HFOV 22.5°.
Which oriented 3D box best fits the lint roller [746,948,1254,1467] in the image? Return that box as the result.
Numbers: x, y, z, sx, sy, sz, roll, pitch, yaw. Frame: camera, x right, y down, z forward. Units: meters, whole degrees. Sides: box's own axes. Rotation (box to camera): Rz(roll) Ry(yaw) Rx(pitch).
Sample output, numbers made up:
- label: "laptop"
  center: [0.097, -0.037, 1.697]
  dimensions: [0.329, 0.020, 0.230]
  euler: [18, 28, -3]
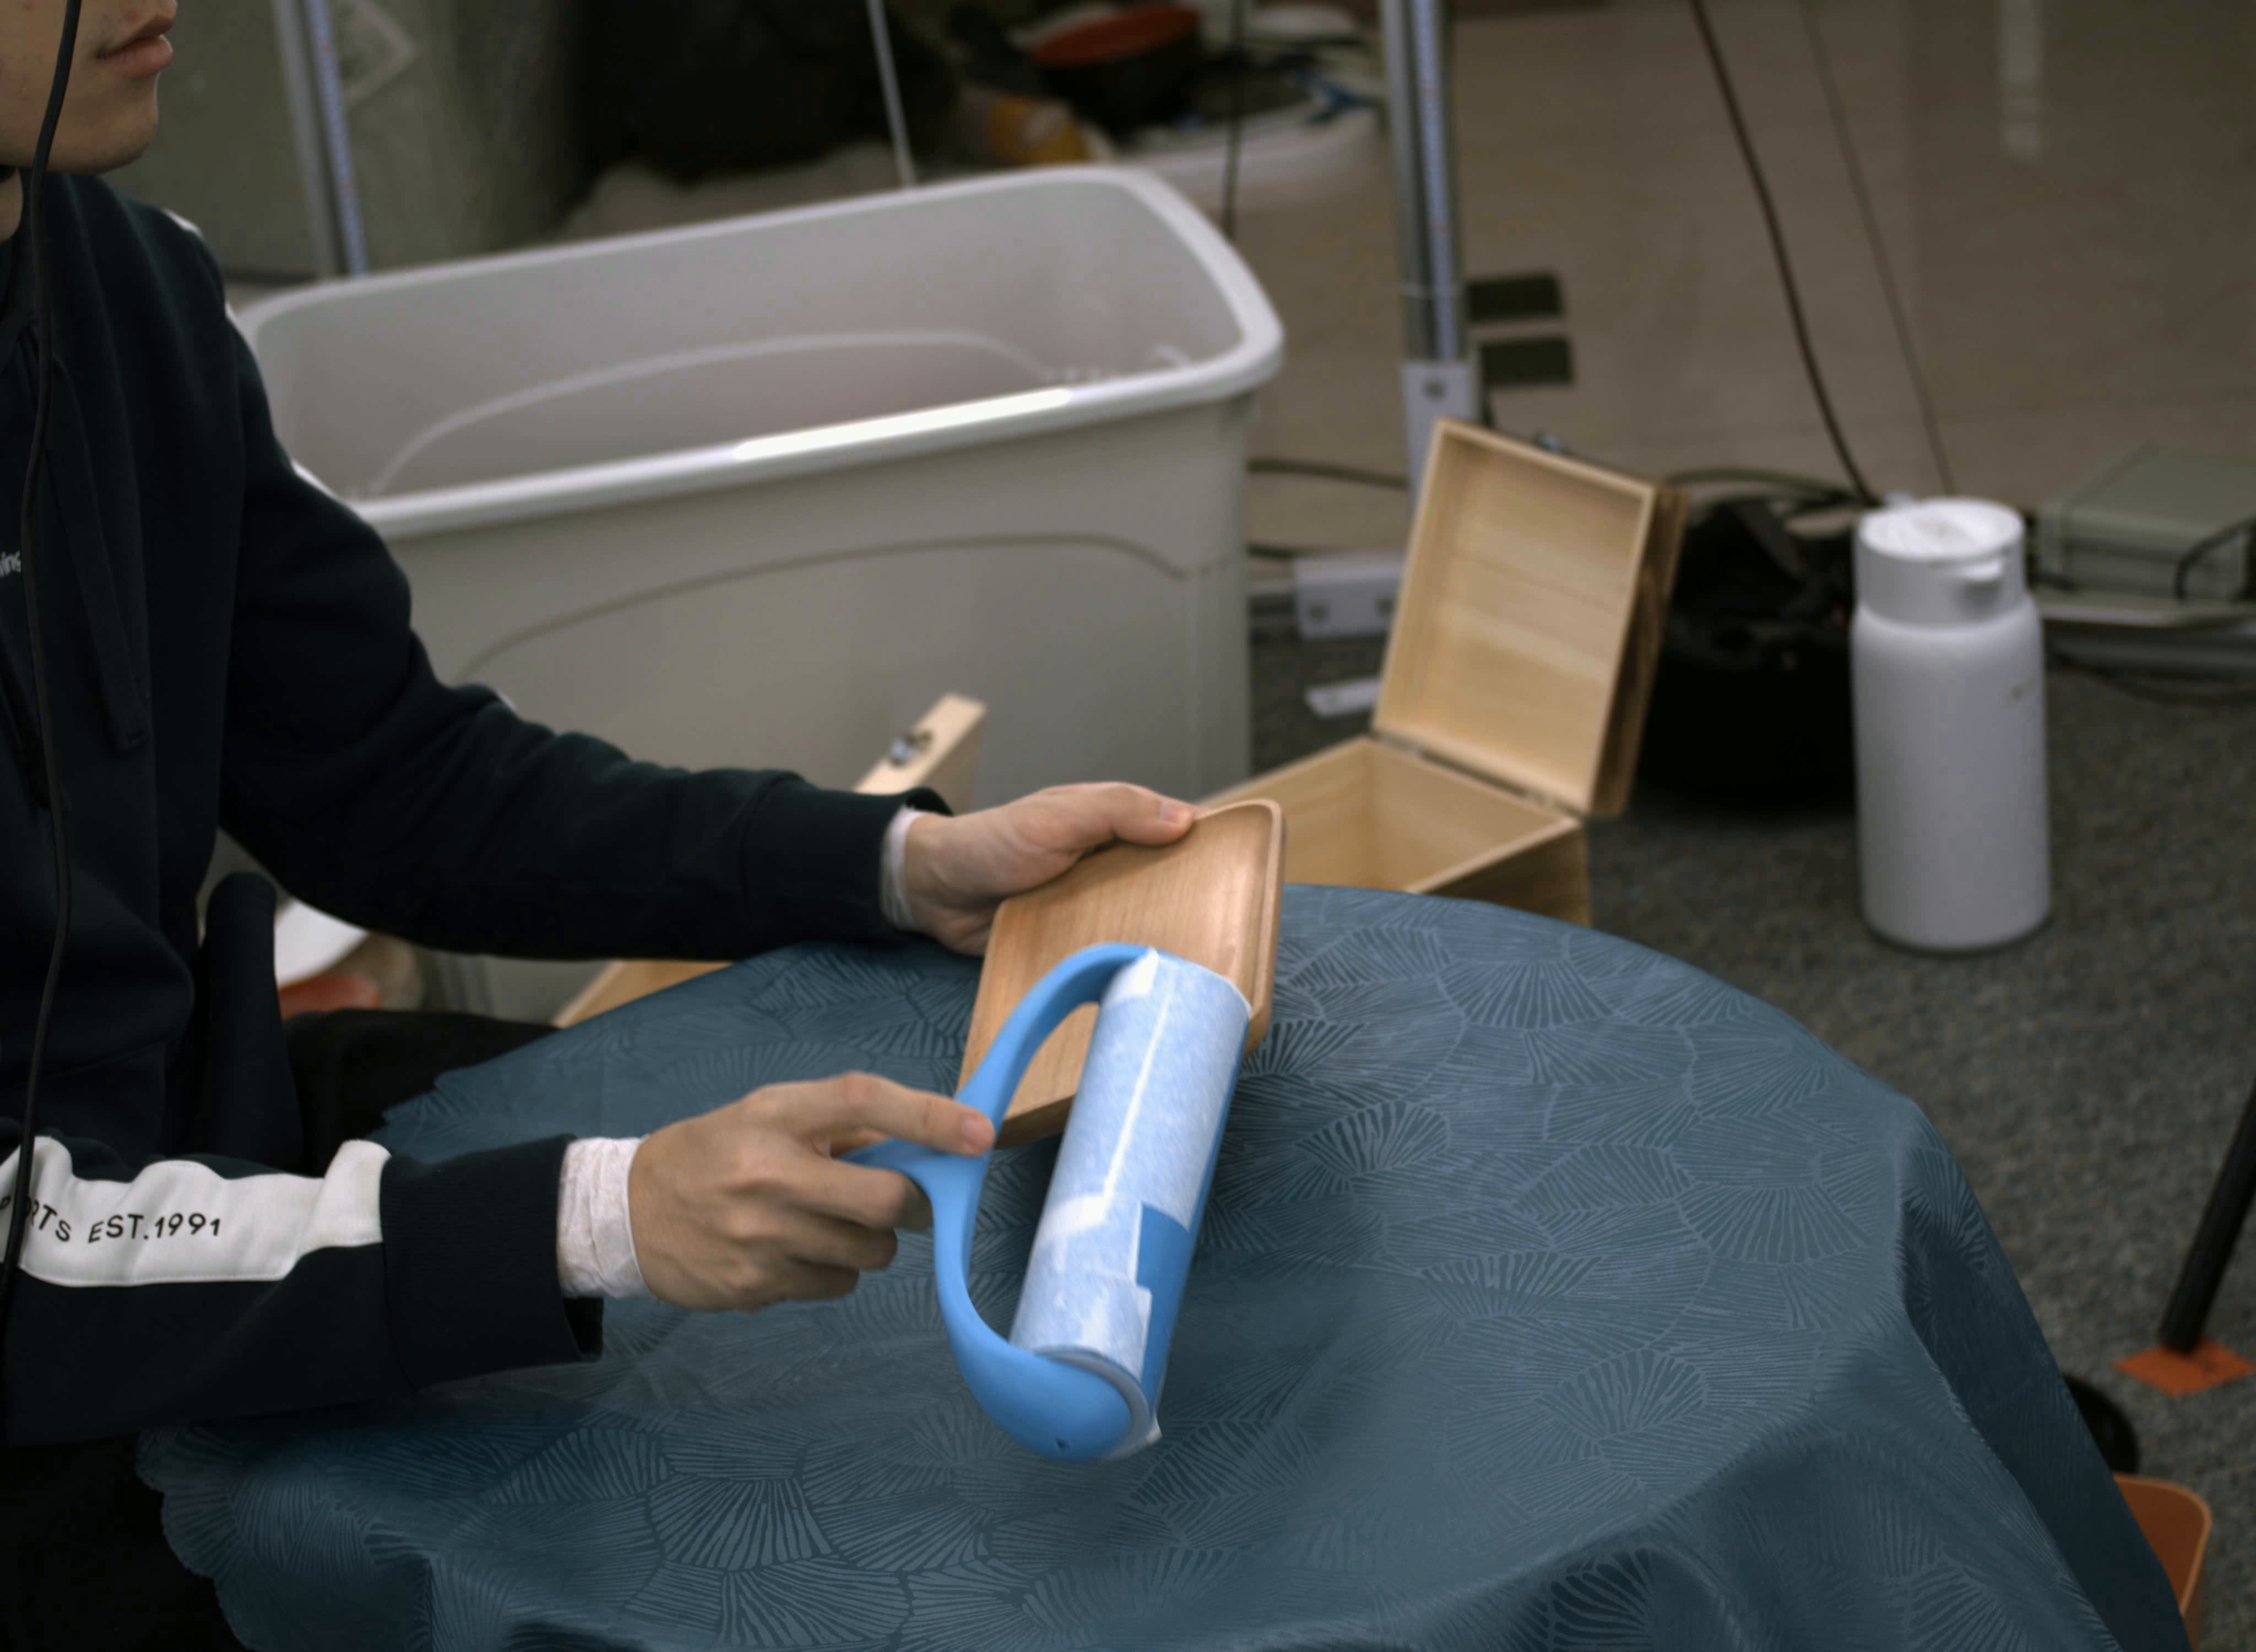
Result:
- label: "lint roller"
  center: [-0.056, 0.135, 1.971]
  dimensions: [0.180, 0.069, 0.225]
  euler: [-5, 42, 15]

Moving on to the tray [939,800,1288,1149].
- label: "tray"
  center: [-0.002, 0.056, 2.189]
  dimensions: [0.131, 0.023, 0.247]
  euler: [-22, 19, 14]
